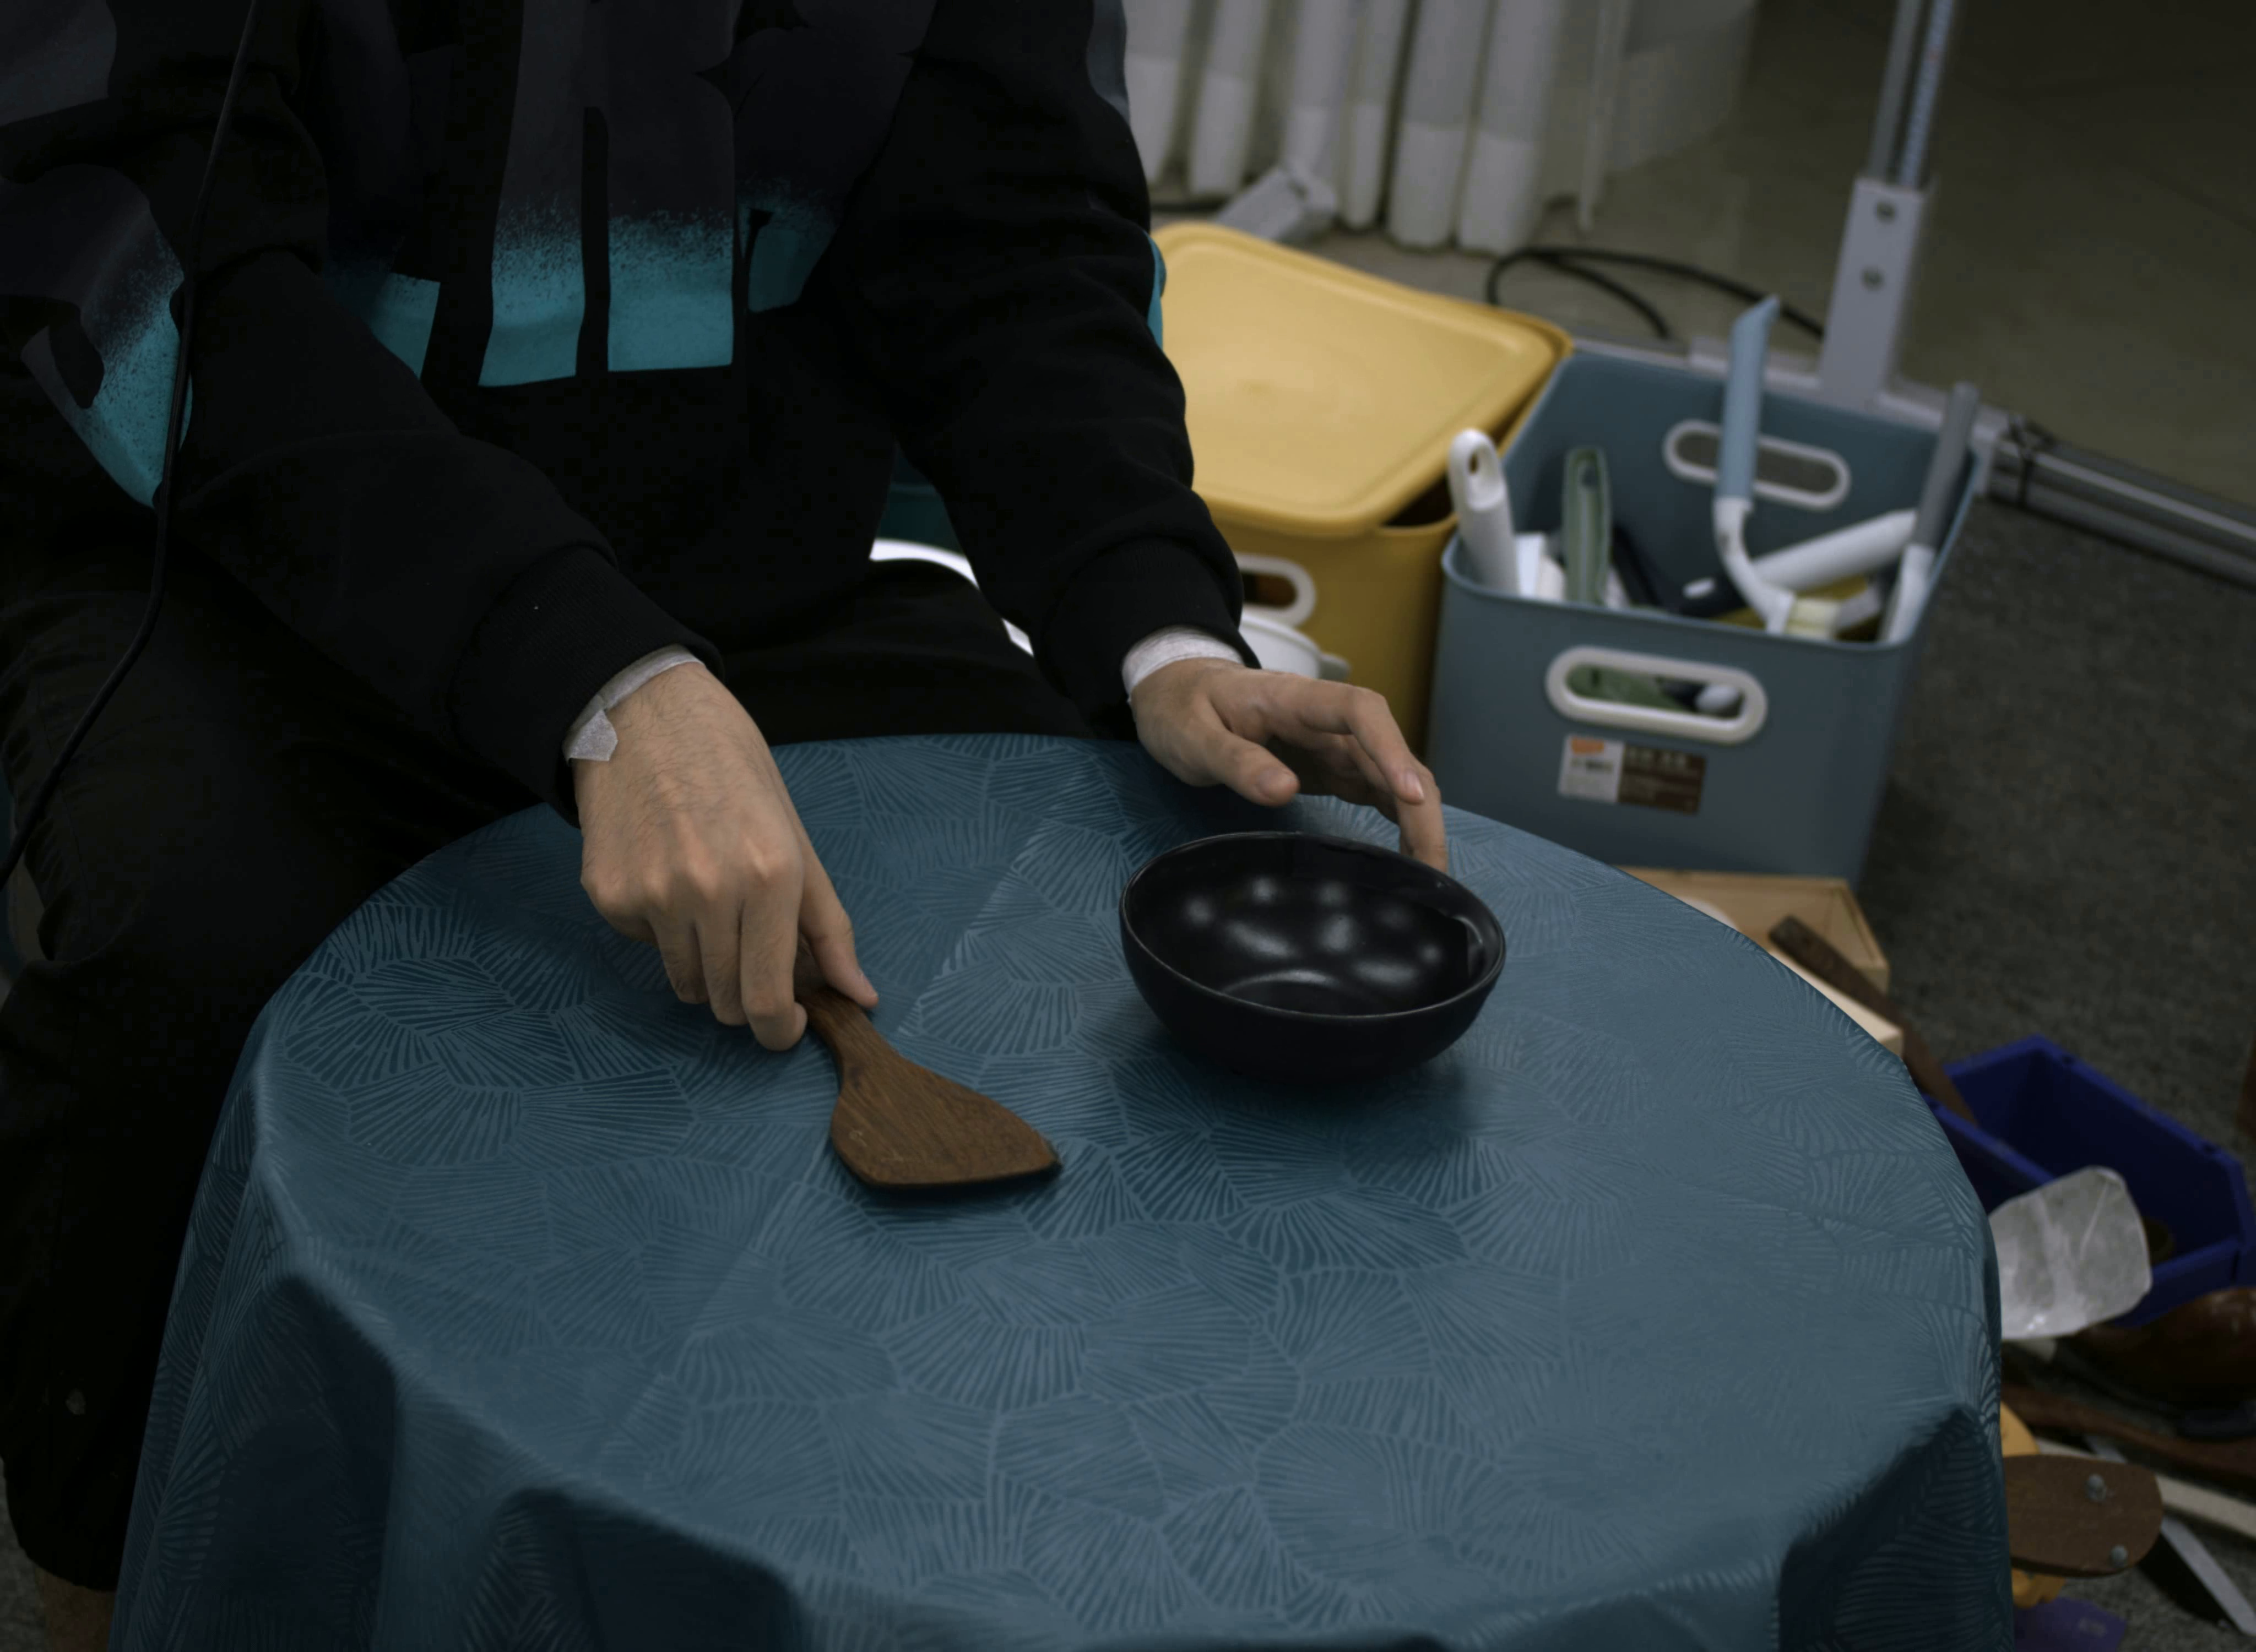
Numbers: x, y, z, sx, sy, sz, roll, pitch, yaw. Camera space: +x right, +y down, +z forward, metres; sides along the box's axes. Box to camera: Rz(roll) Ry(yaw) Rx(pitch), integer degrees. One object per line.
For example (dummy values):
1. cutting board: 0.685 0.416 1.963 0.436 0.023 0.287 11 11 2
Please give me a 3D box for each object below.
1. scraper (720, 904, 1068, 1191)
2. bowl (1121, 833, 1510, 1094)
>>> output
1. scraper: -0.094 0.077 1.863 0.075 0.011 0.213 -4 28 -26
2. bowl: 0.065 0.056 1.896 0.139 0.049 0.141 3 28 -2
